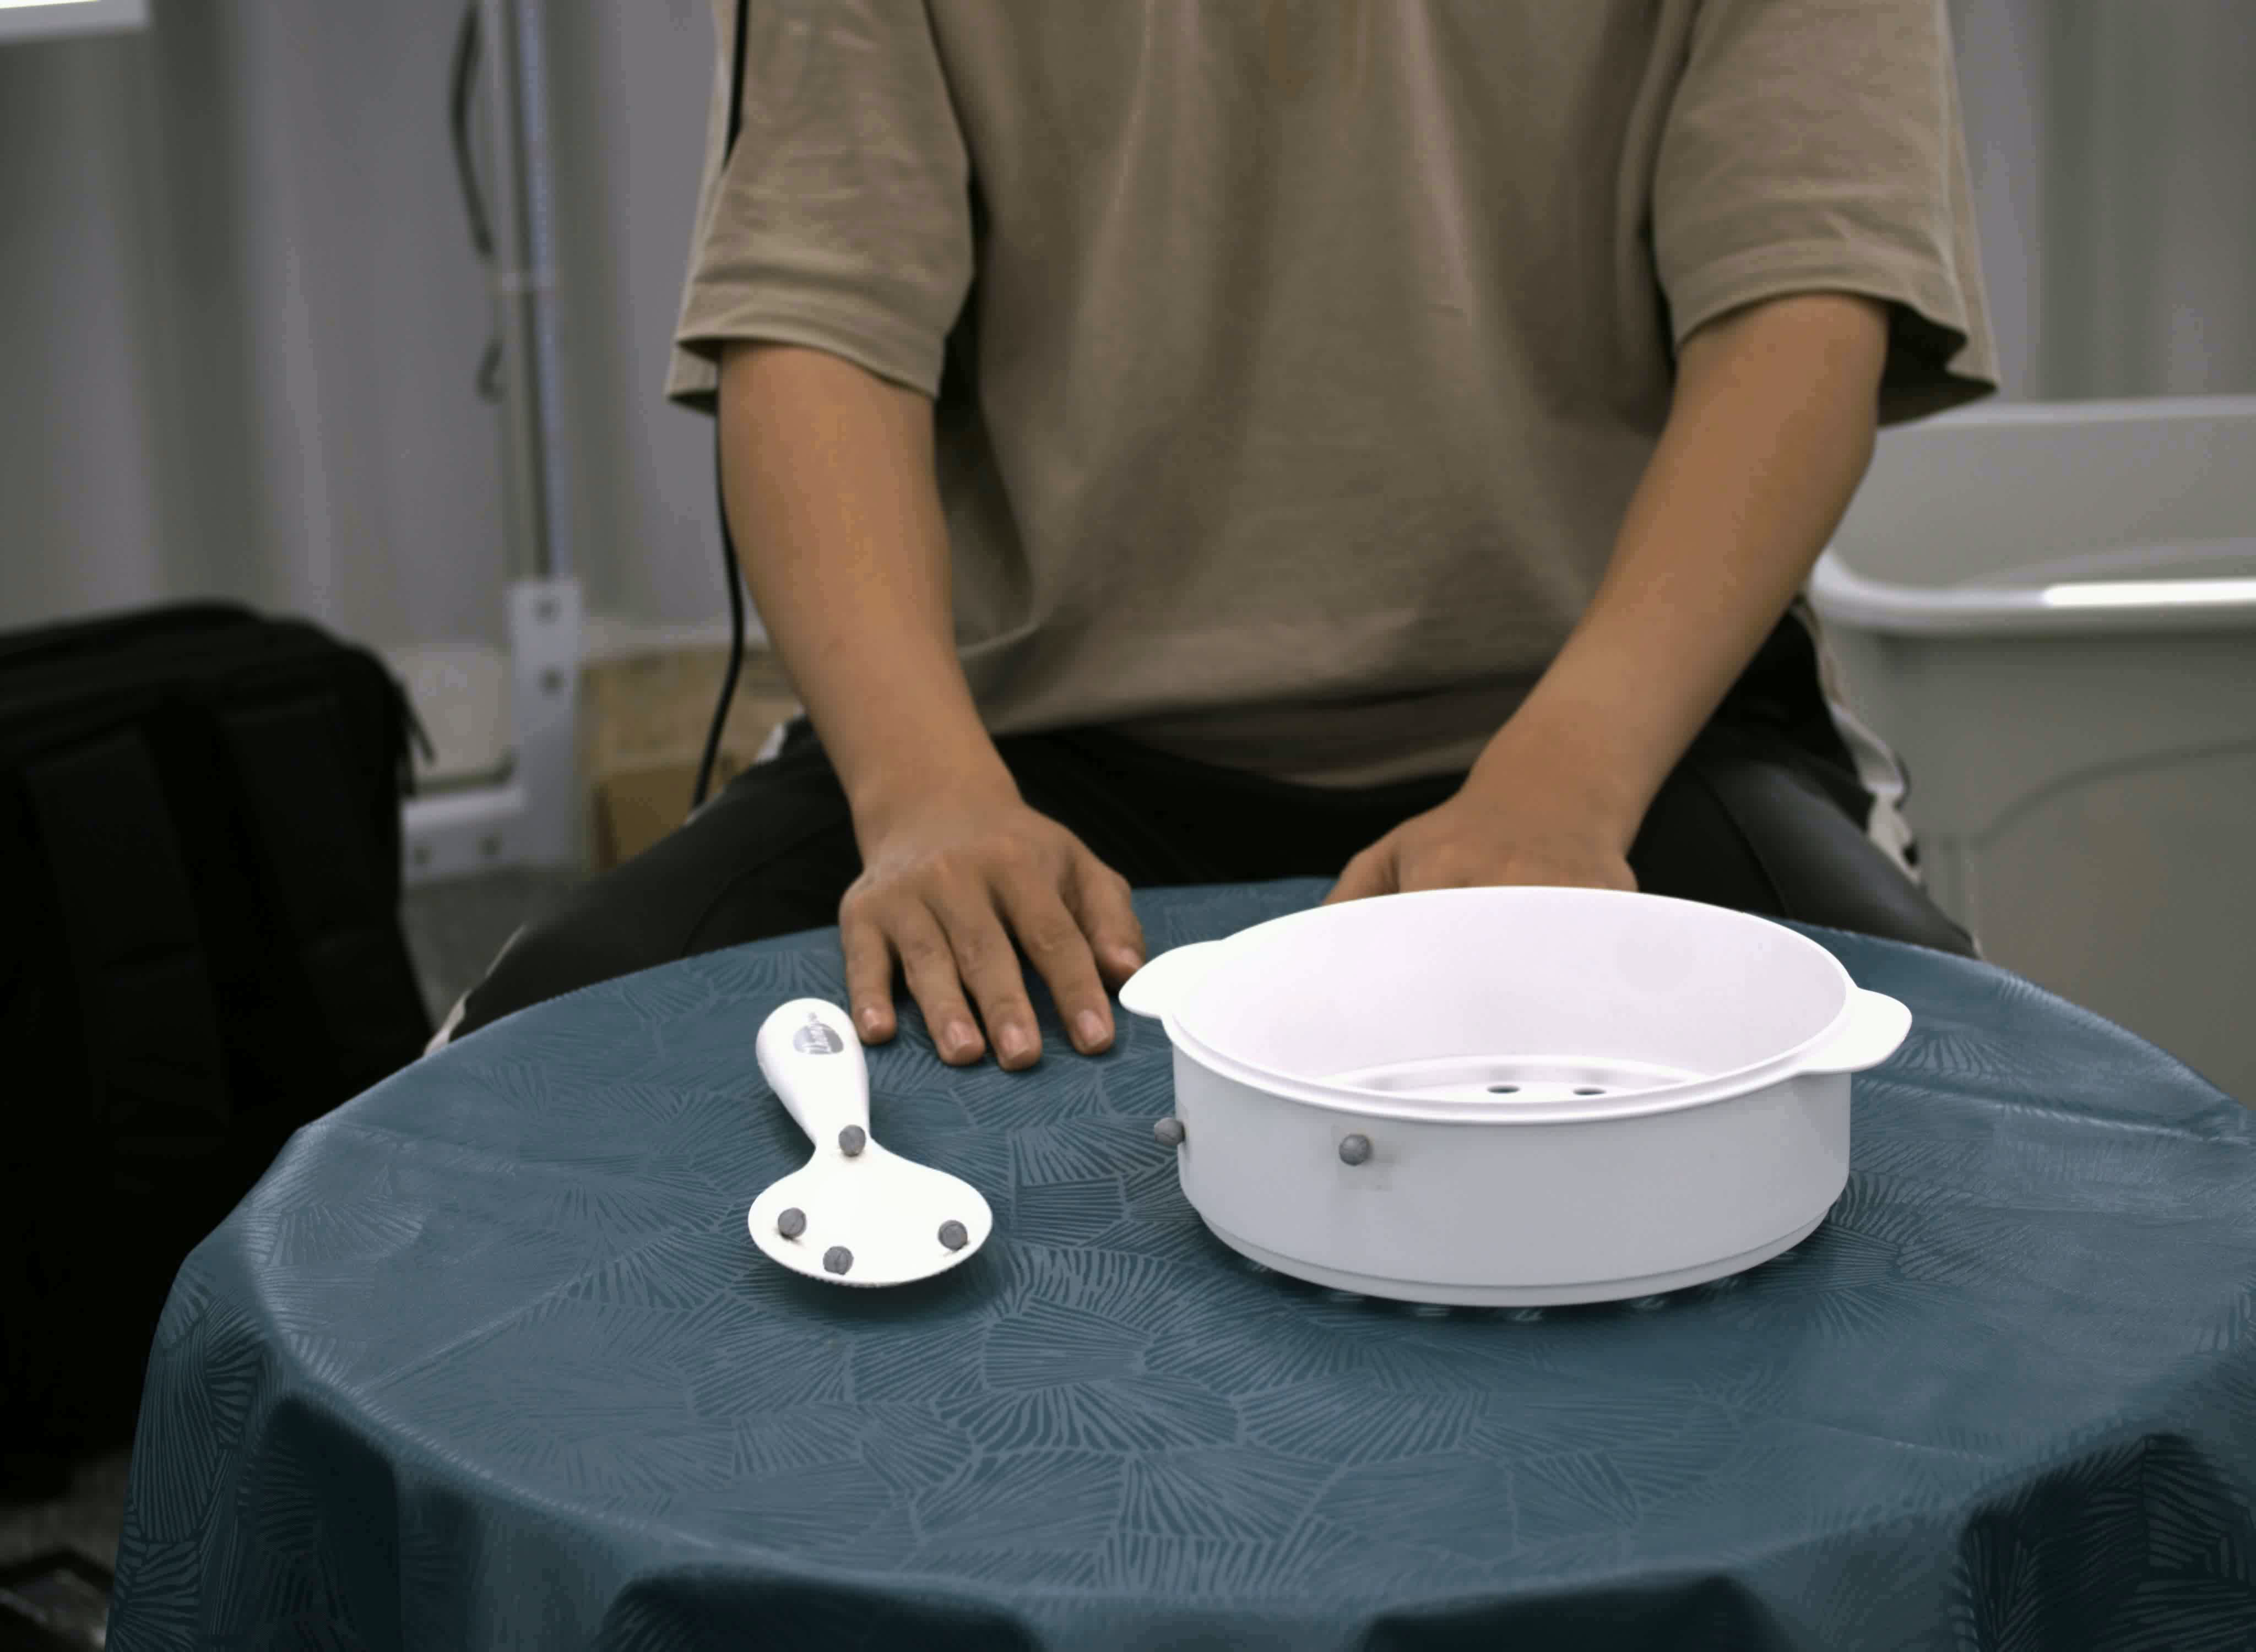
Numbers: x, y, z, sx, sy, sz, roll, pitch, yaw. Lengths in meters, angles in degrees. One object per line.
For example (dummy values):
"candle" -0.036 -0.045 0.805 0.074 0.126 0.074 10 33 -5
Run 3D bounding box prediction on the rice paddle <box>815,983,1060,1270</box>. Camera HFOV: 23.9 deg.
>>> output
"rice paddle" -0.063 0.090 1.558 0.068 0.029 0.207 -6 17 -8

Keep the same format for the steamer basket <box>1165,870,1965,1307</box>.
"steamer basket" 0.124 0.076 1.521 0.233 0.069 0.199 6 19 21
